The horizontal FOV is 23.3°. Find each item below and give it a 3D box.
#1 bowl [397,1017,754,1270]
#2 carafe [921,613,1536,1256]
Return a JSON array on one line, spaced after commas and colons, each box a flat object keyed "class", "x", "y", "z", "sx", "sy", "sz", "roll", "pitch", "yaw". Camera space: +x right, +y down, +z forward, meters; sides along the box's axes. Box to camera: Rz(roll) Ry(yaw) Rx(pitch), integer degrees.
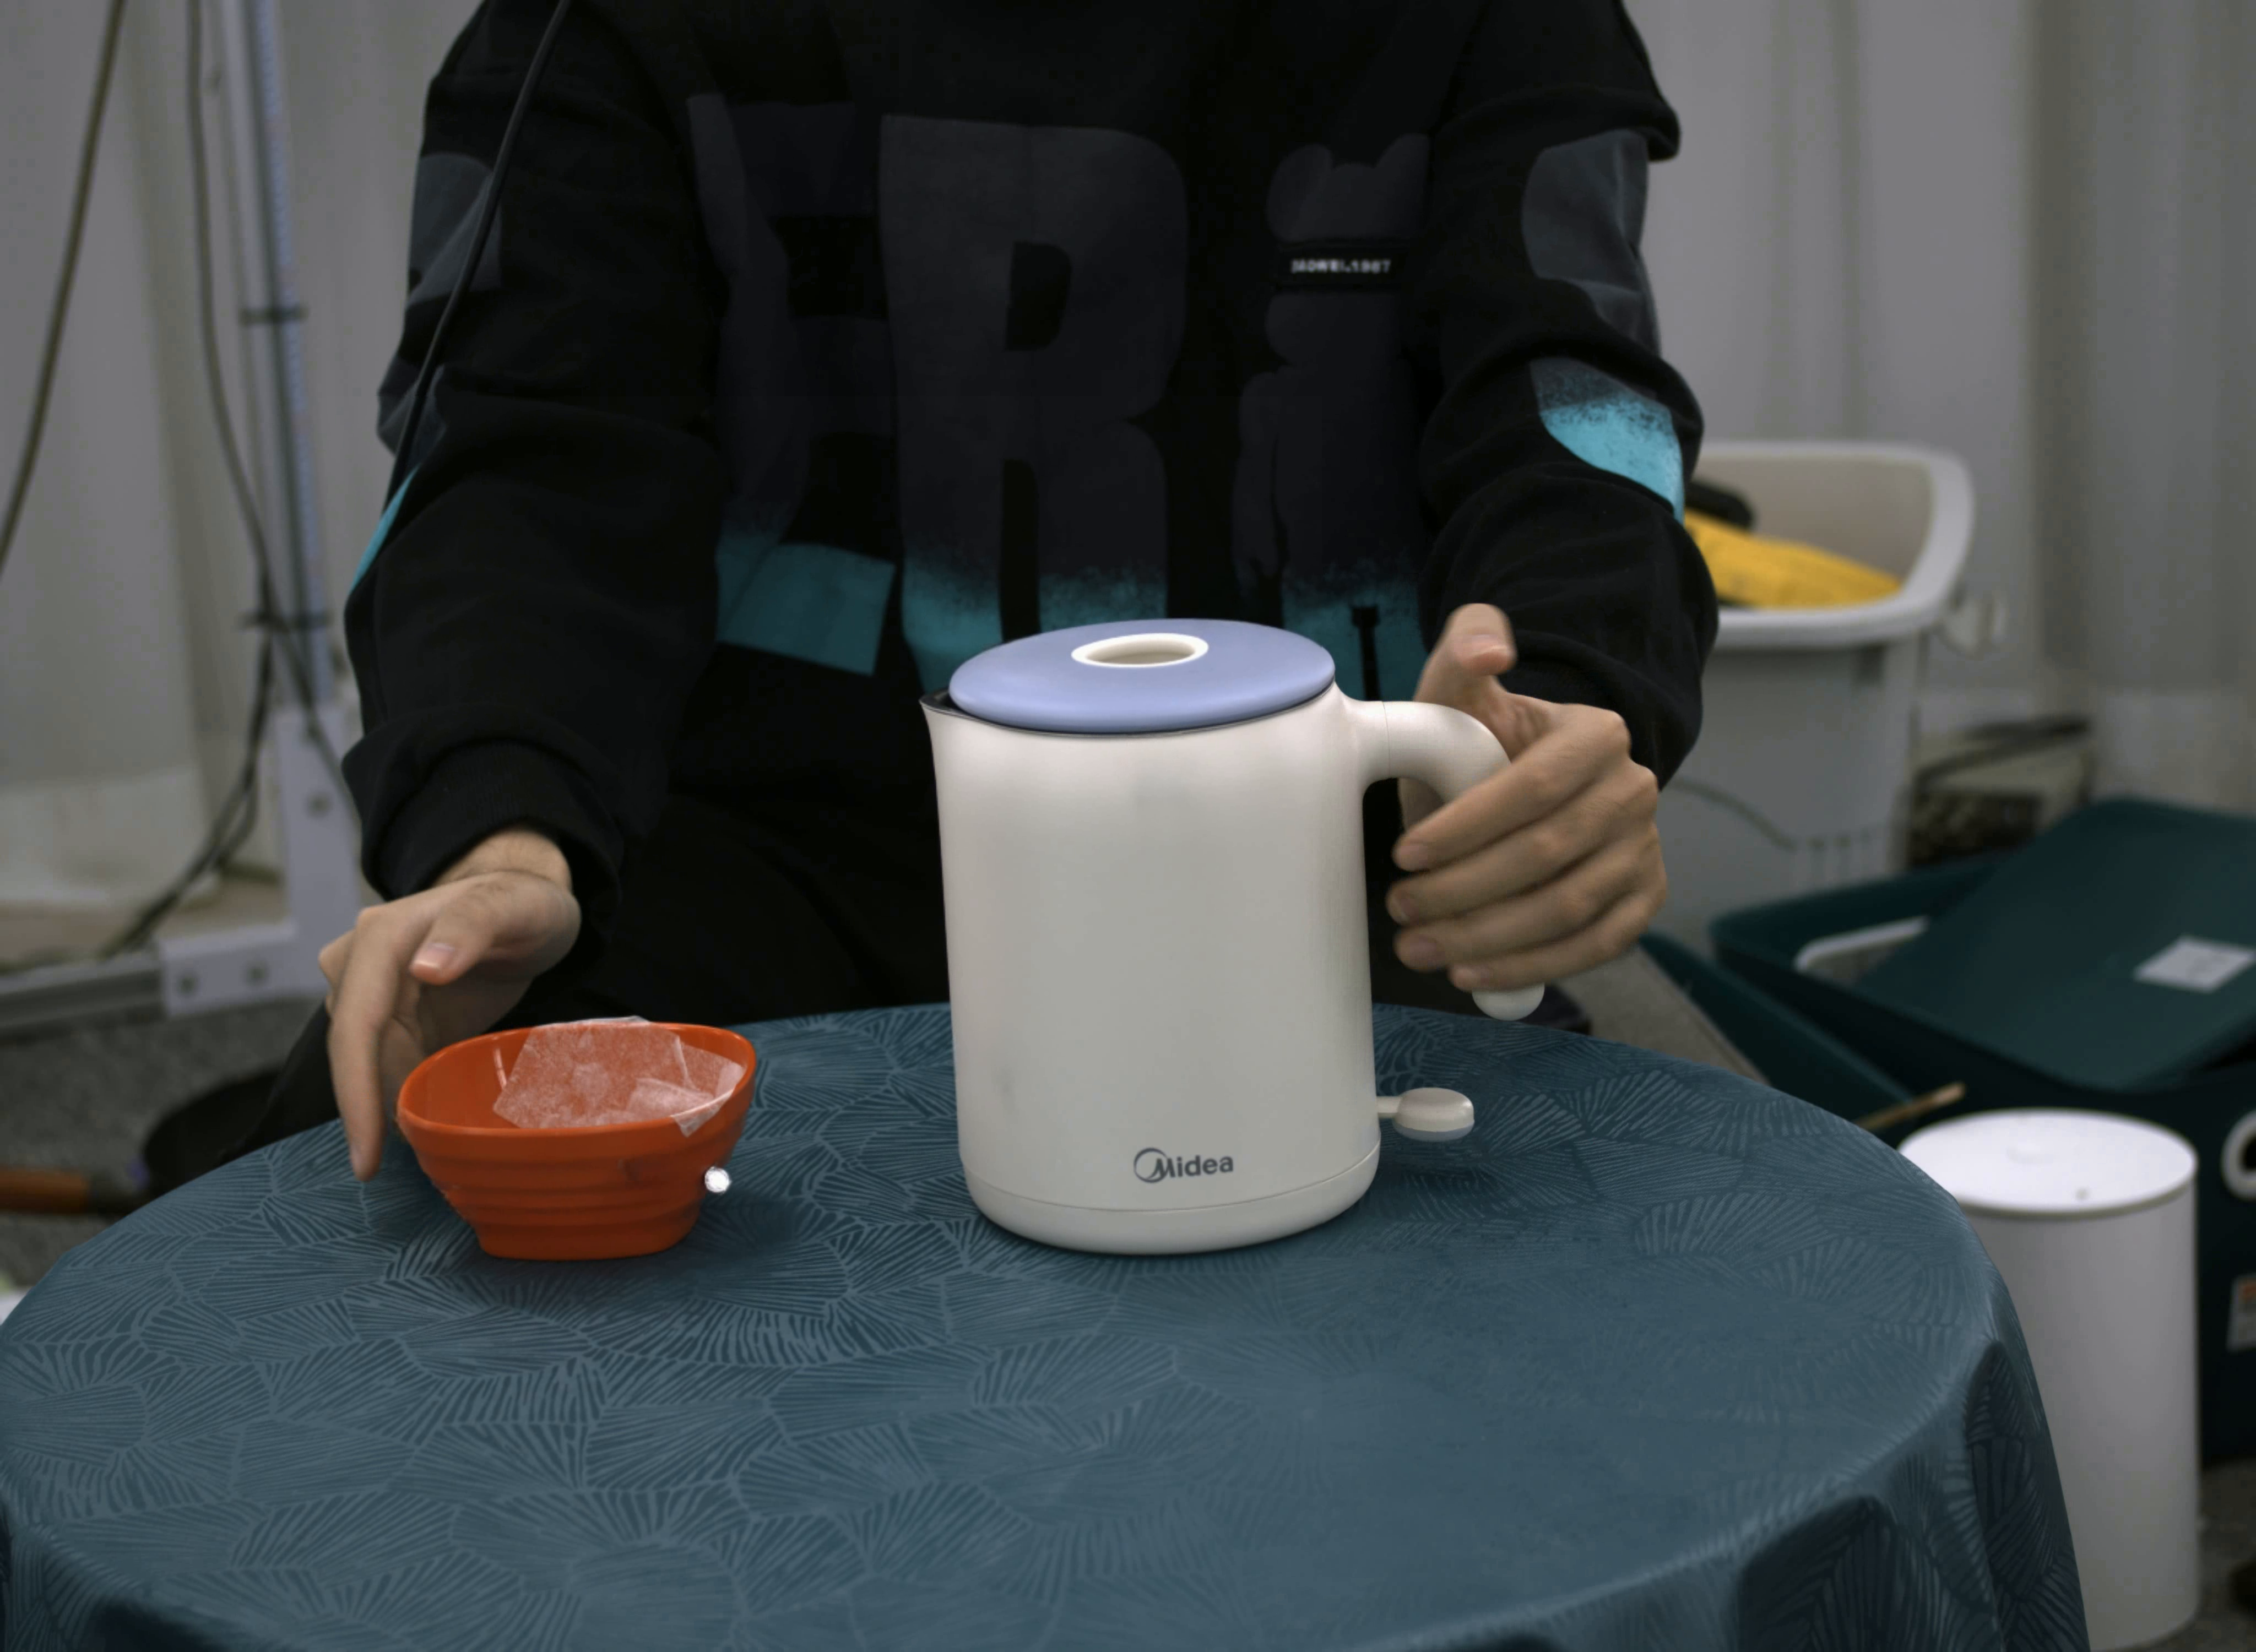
[{"class": "bowl", "x": -0.168, "y": 0.102, "z": 1.704, "sx": 0.118, "sy": 0.051, "sz": 0.120, "roll": -6, "pitch": 17, "yaw": 2}, {"class": "carafe", "x": 0.032, "y": 0.031, "z": 1.692, "sx": 0.190, "sy": 0.182, "sz": 0.133, "roll": -2, "pitch": 15, "yaw": -5}]
